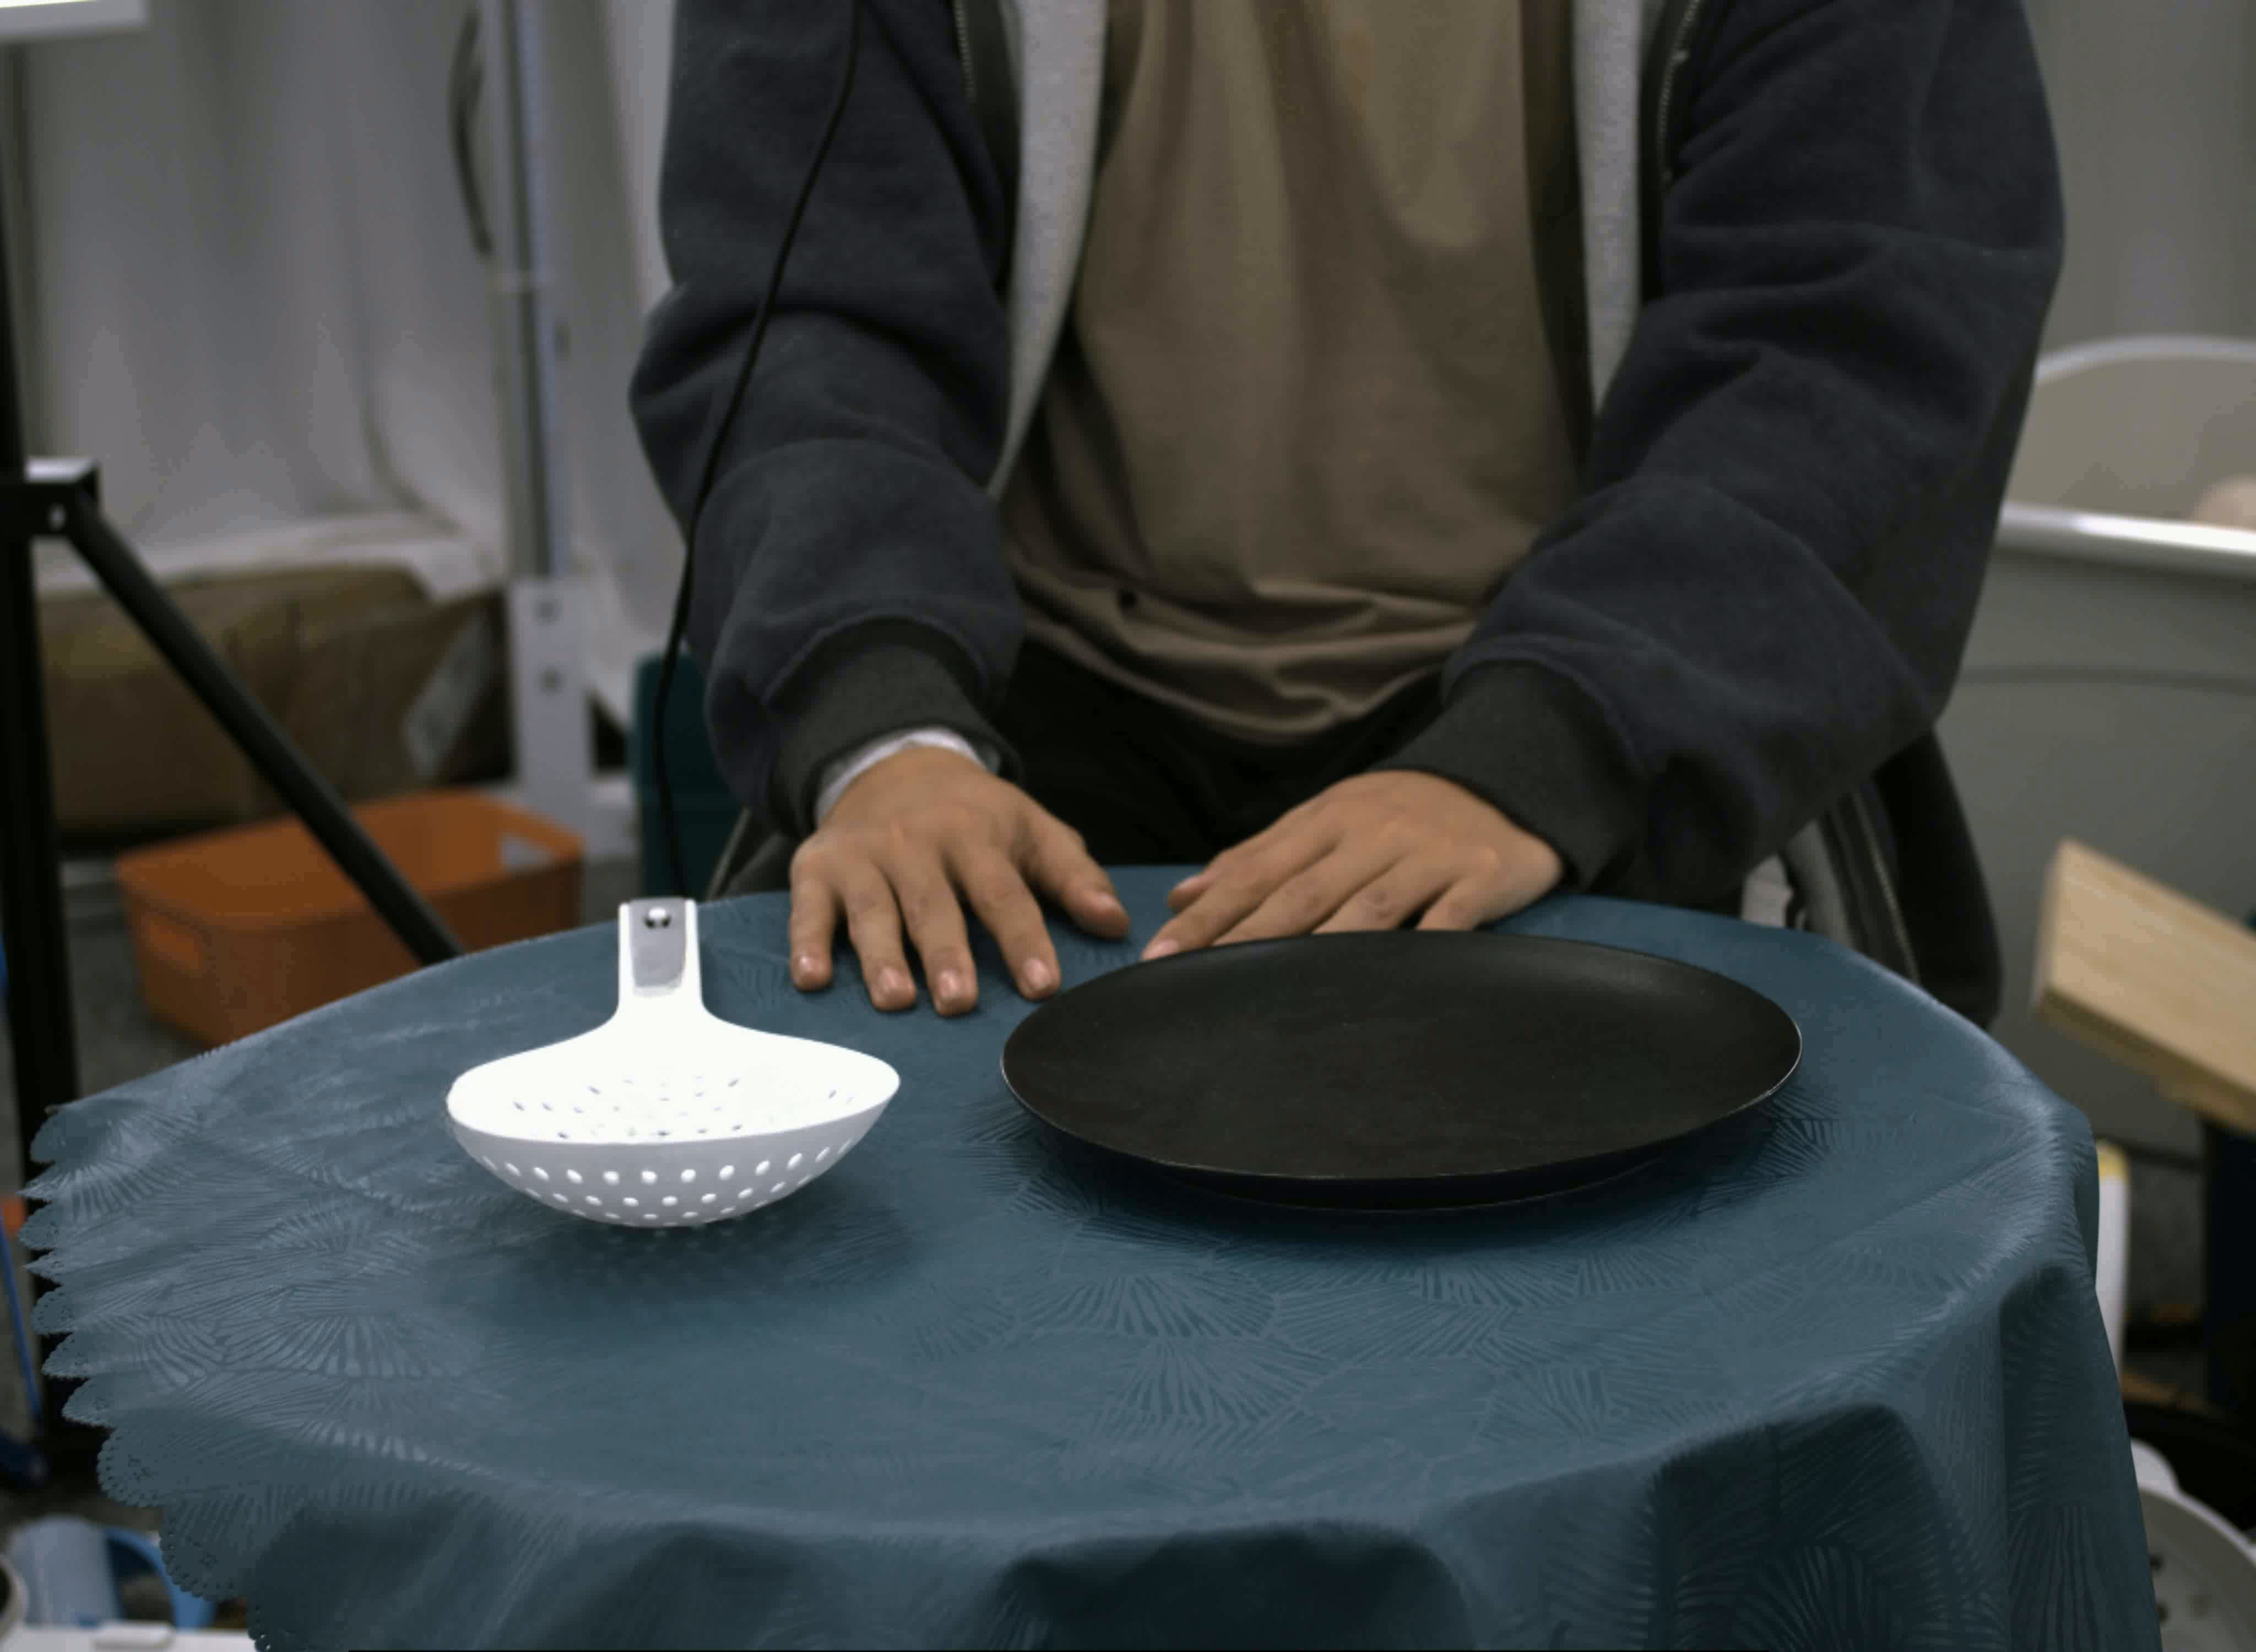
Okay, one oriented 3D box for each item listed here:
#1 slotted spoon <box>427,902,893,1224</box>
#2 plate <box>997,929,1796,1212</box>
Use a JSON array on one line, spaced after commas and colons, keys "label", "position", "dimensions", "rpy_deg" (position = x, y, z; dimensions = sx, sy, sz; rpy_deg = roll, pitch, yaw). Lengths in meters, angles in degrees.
[{"label": "slotted spoon", "position": [-0.146, 0.064, 1.657], "dimensions": [0.135, 0.046, 0.352], "rpy_deg": [-2, 15, -5]}, {"label": "plate", "position": [0.082, 0.077, 1.615], "dimensions": [0.243, 0.023, 0.245], "rpy_deg": [-3, 16, -1]}]
